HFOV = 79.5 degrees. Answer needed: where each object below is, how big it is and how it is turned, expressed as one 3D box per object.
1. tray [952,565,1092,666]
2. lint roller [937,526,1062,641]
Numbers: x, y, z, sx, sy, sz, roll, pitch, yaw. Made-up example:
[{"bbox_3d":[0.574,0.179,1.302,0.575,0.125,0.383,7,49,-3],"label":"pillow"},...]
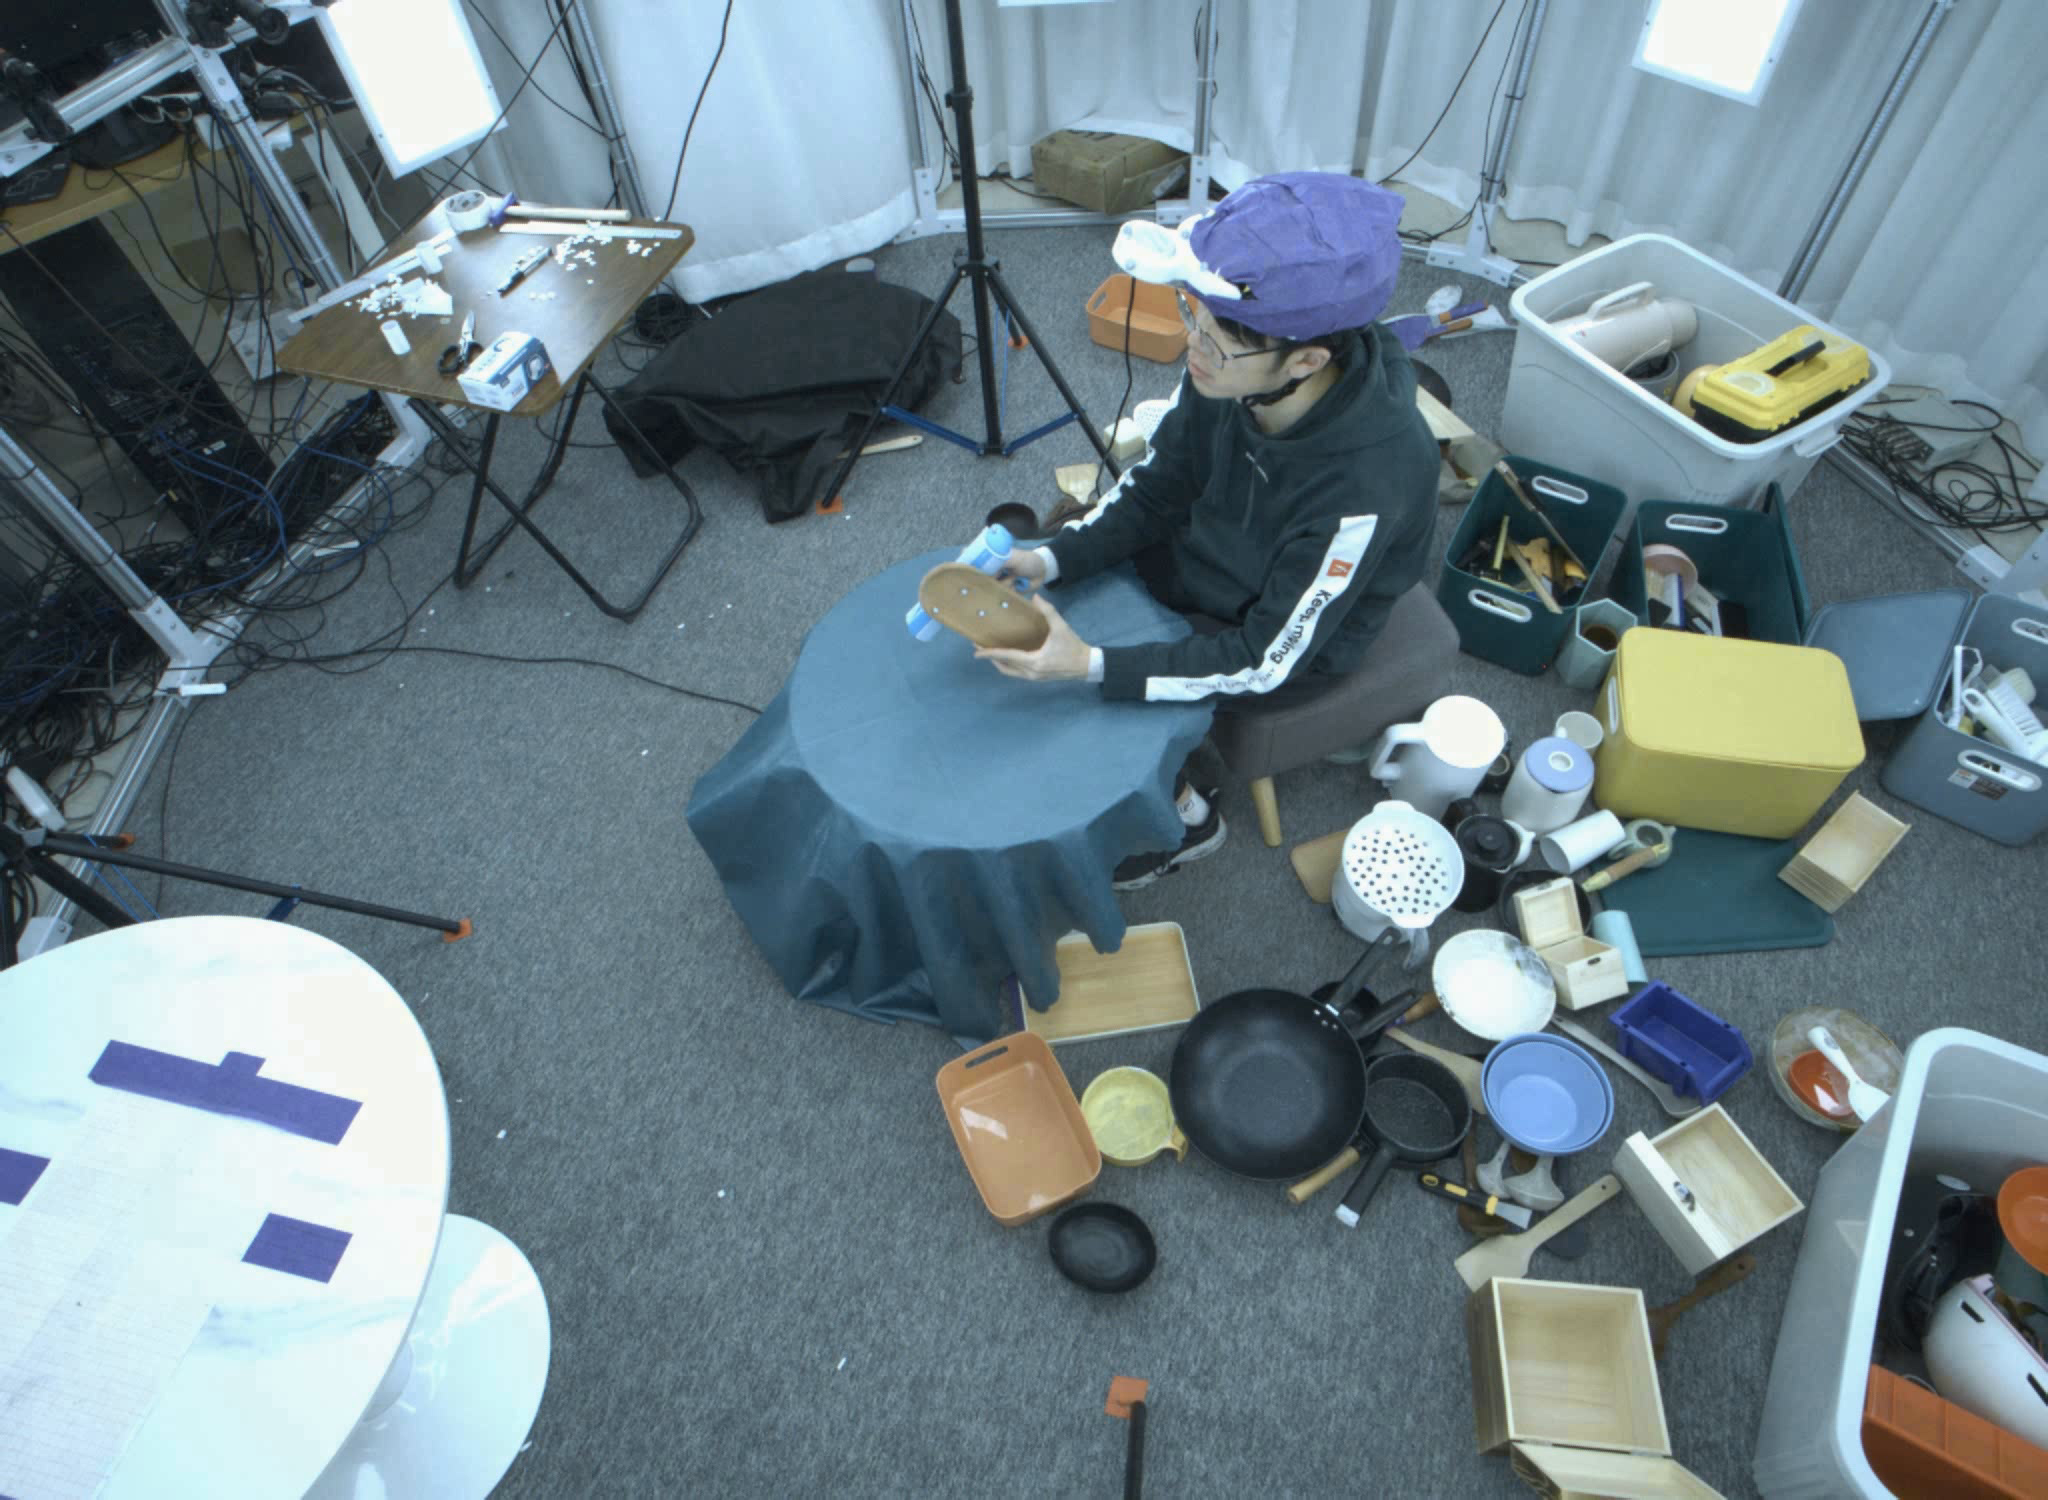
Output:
[{"bbox_3d":[-0.002,-0.190,1.742,0.236,0.101,0.020,27,36,-35],"label":"tray"},{"bbox_3d":[-0.016,-0.243,1.794,0.067,0.227,0.183,56,34,10],"label":"lint roller"}]
